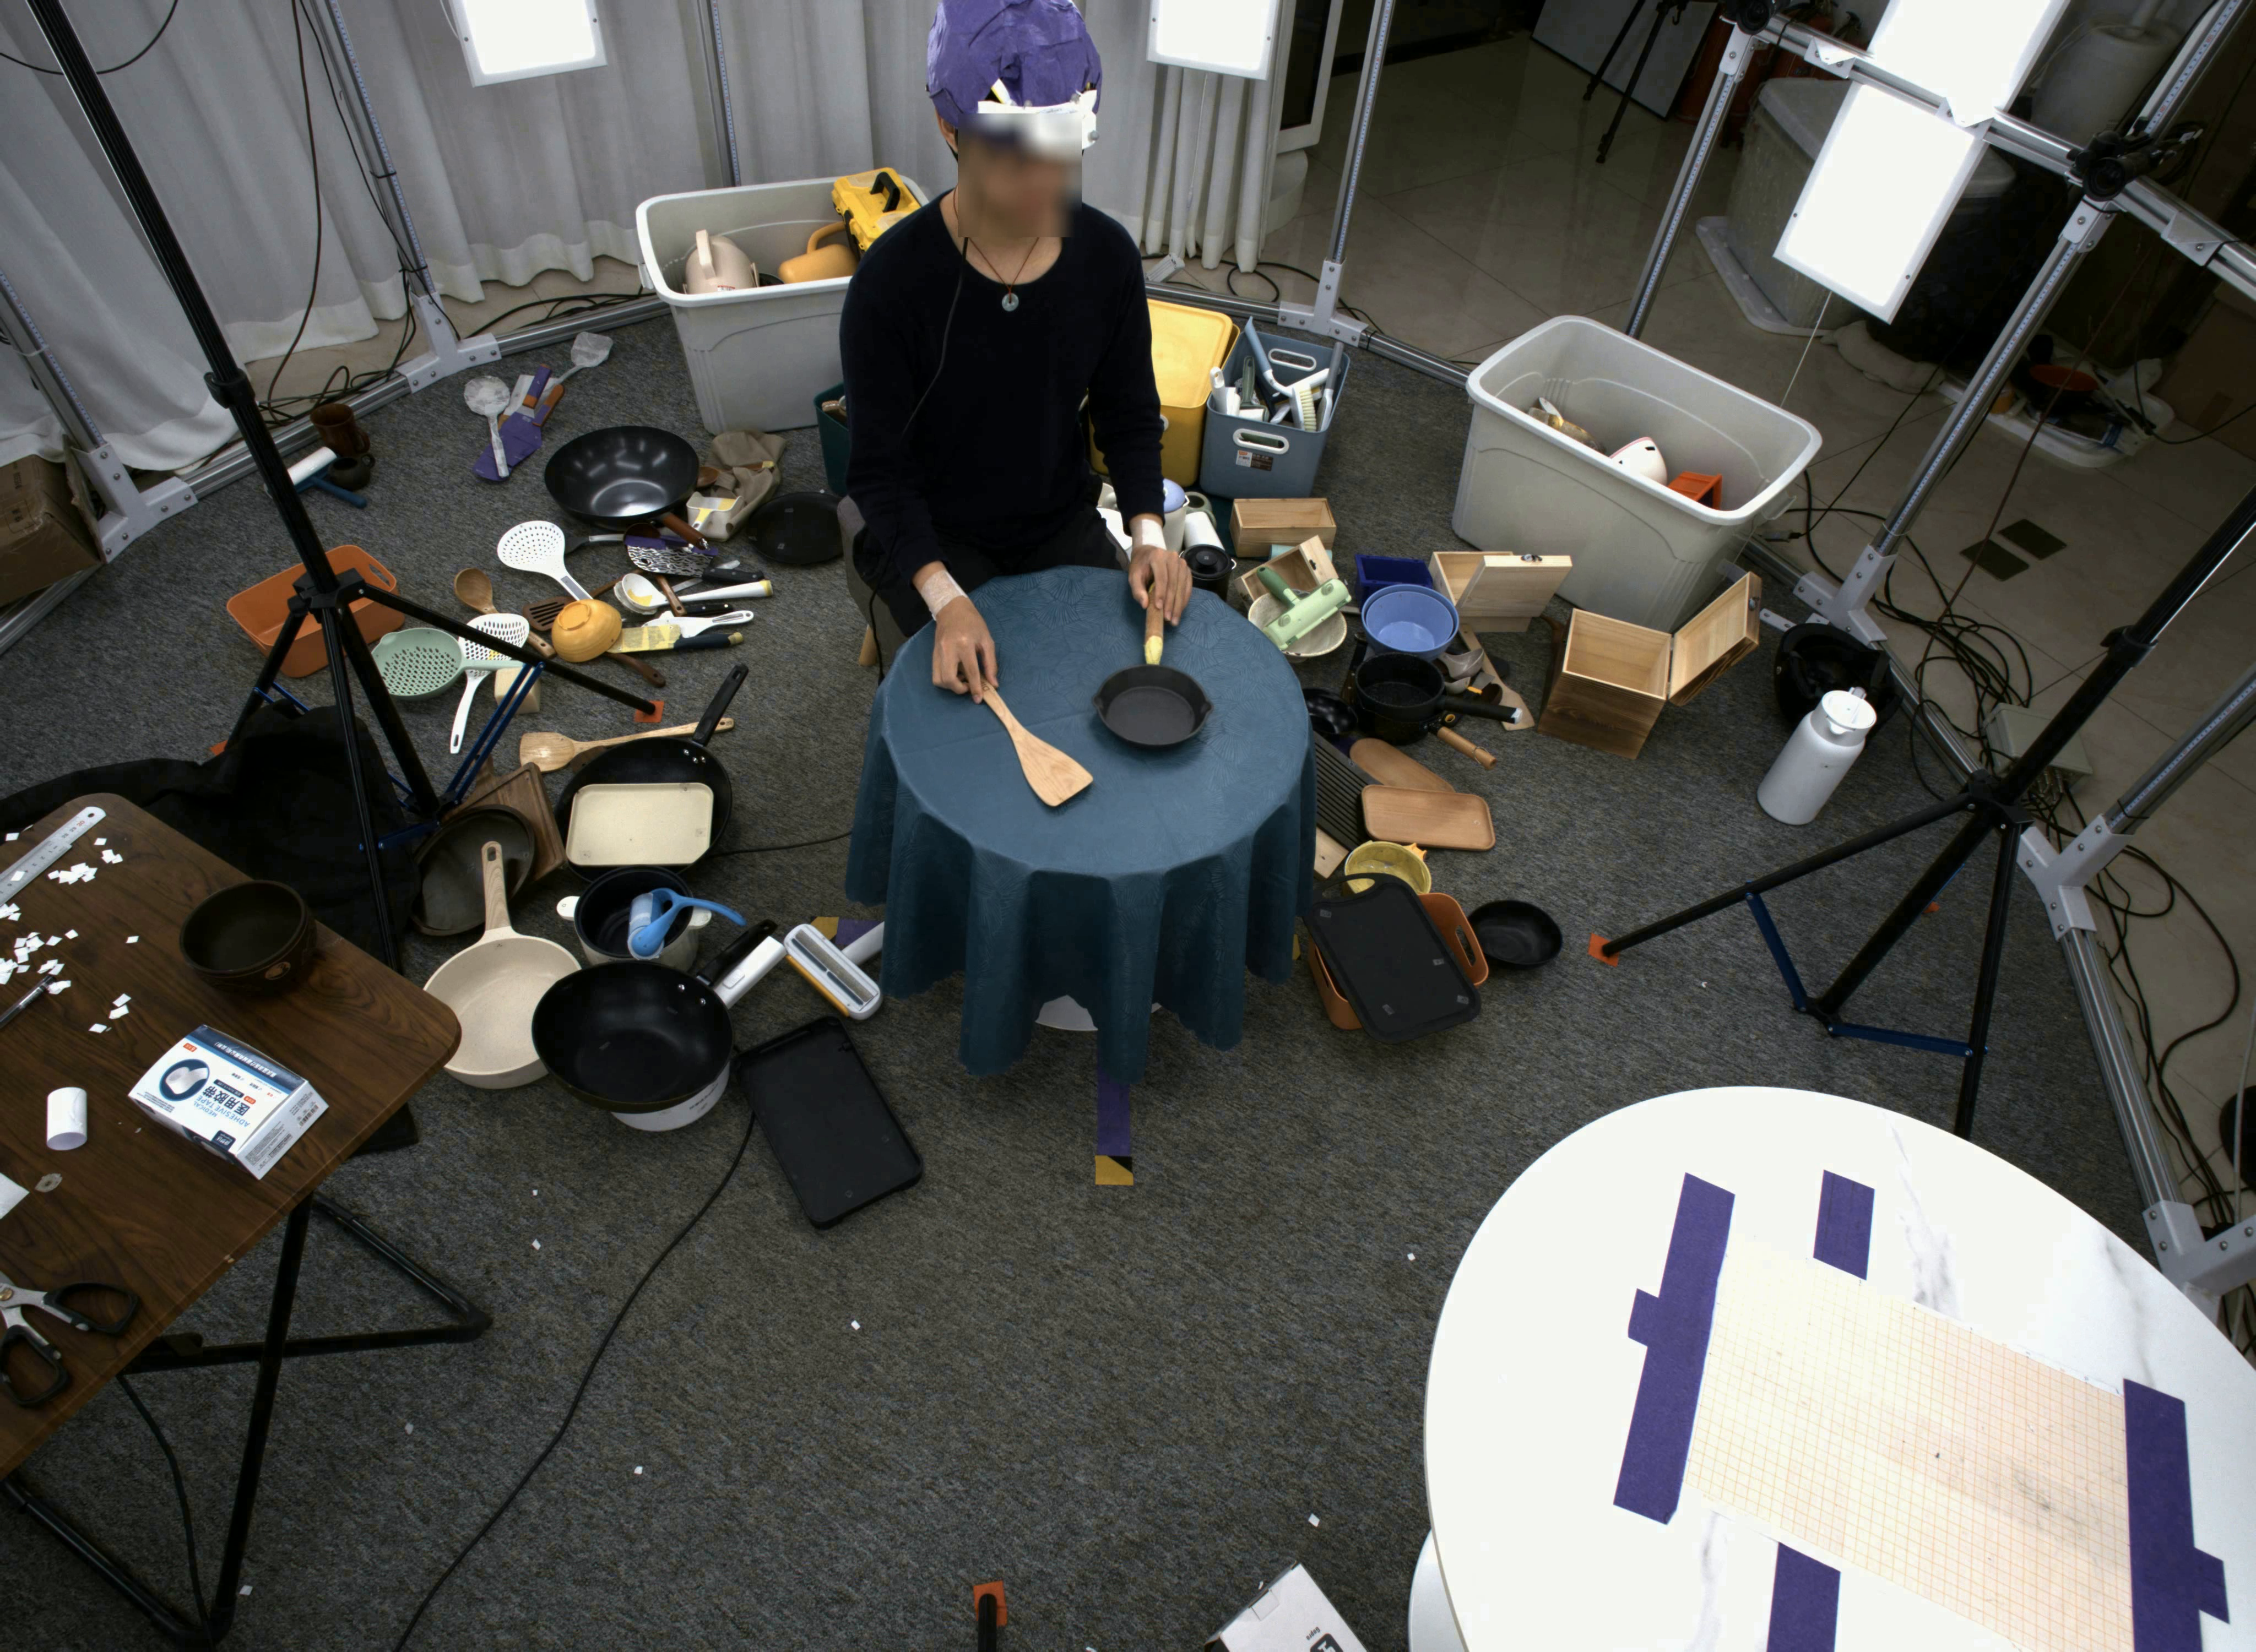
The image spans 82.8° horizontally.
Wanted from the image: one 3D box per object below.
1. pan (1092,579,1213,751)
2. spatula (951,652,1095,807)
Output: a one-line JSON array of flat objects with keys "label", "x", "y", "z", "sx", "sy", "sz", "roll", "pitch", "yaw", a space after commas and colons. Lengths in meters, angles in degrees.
[{"label": "pan", "x": 0.039, "y": -0.232, "z": 1.840, "sx": 0.169, "sy": 0.048, "sz": 0.332, "roll": 5, "pitch": 50, "yaw": 0}, {"label": "spatula", "x": -0.158, "y": -0.143, "z": 1.771, "sx": 0.080, "sy": 0.016, "sz": 0.334, "roll": -25, "pitch": 55, "yaw": -23}]
